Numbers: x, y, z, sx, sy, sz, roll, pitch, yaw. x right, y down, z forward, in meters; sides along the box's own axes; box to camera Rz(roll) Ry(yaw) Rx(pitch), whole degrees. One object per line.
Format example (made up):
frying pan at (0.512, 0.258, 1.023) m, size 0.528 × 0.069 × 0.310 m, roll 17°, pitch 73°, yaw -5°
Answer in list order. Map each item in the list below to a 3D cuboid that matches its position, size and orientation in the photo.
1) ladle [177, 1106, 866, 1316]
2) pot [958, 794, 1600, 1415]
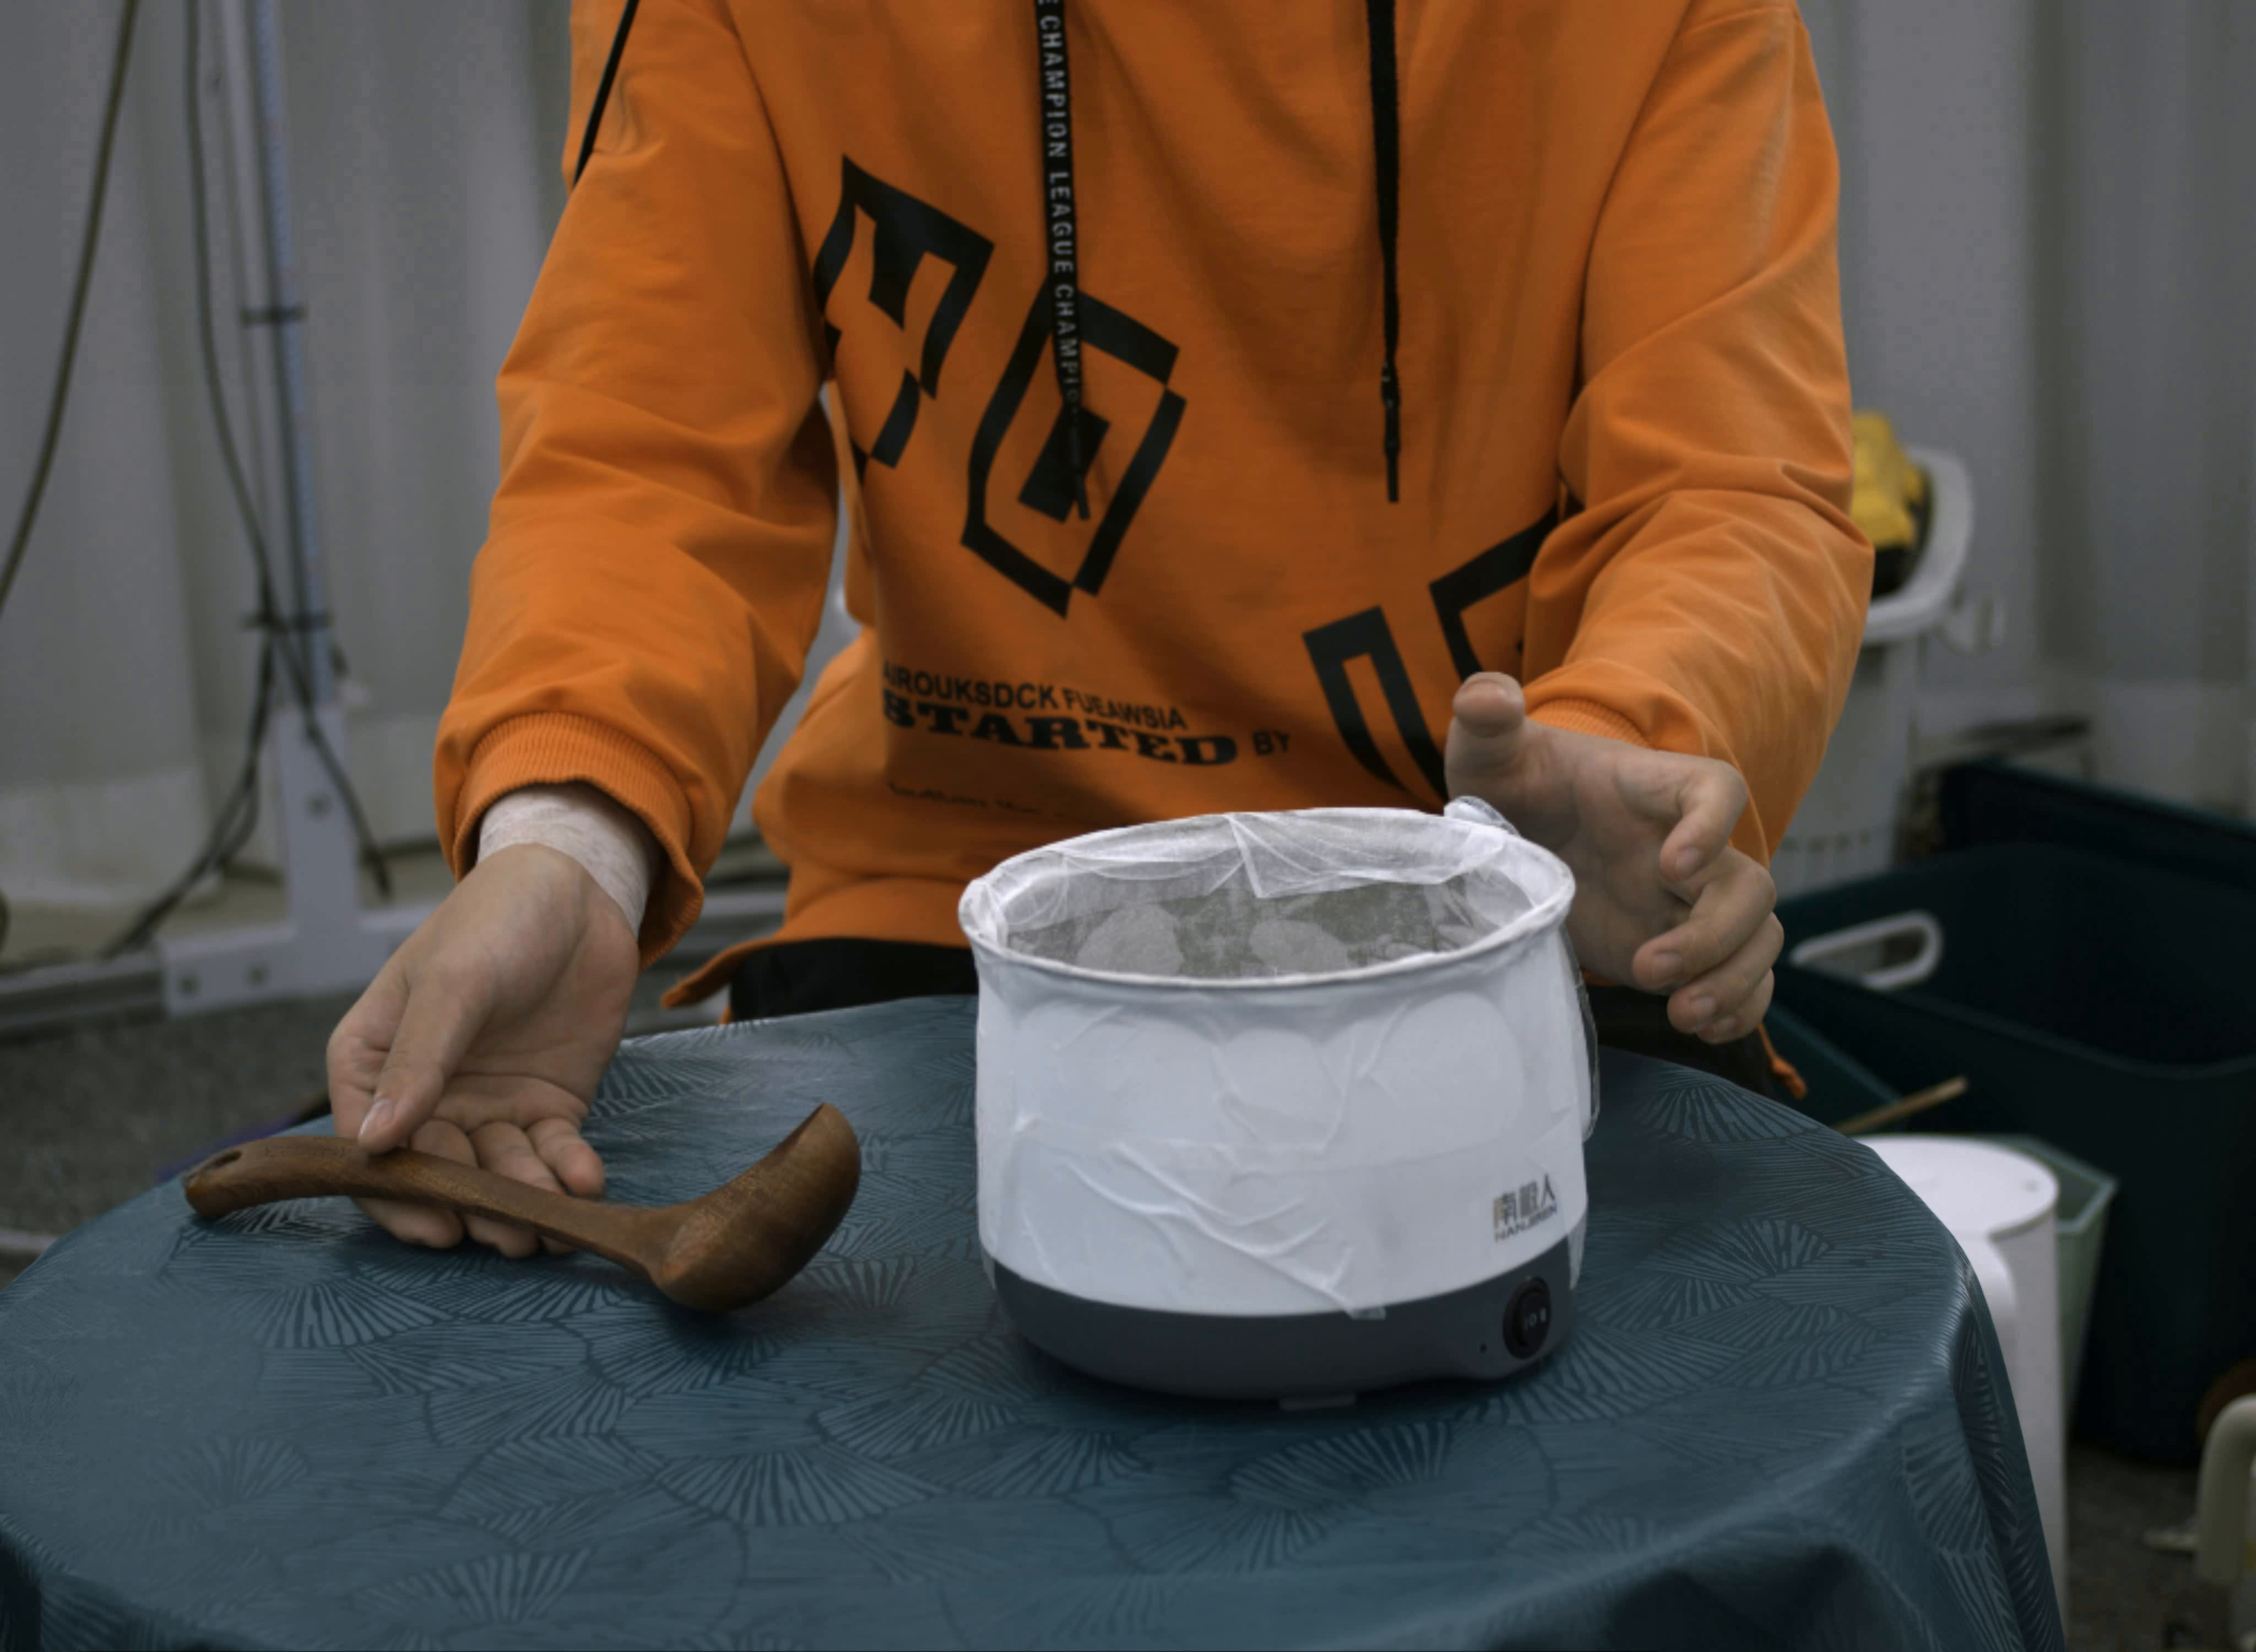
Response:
ladle at (-0.192, 0.105, 1.668) m, size 0.261 × 0.064 × 0.077 m, roll 7°, pitch 31°, yaw 31°
pot at (0.060, 0.073, 1.595) m, size 0.179 × 0.136 × 0.233 m, roll 9°, pitch 19°, yaw 37°
